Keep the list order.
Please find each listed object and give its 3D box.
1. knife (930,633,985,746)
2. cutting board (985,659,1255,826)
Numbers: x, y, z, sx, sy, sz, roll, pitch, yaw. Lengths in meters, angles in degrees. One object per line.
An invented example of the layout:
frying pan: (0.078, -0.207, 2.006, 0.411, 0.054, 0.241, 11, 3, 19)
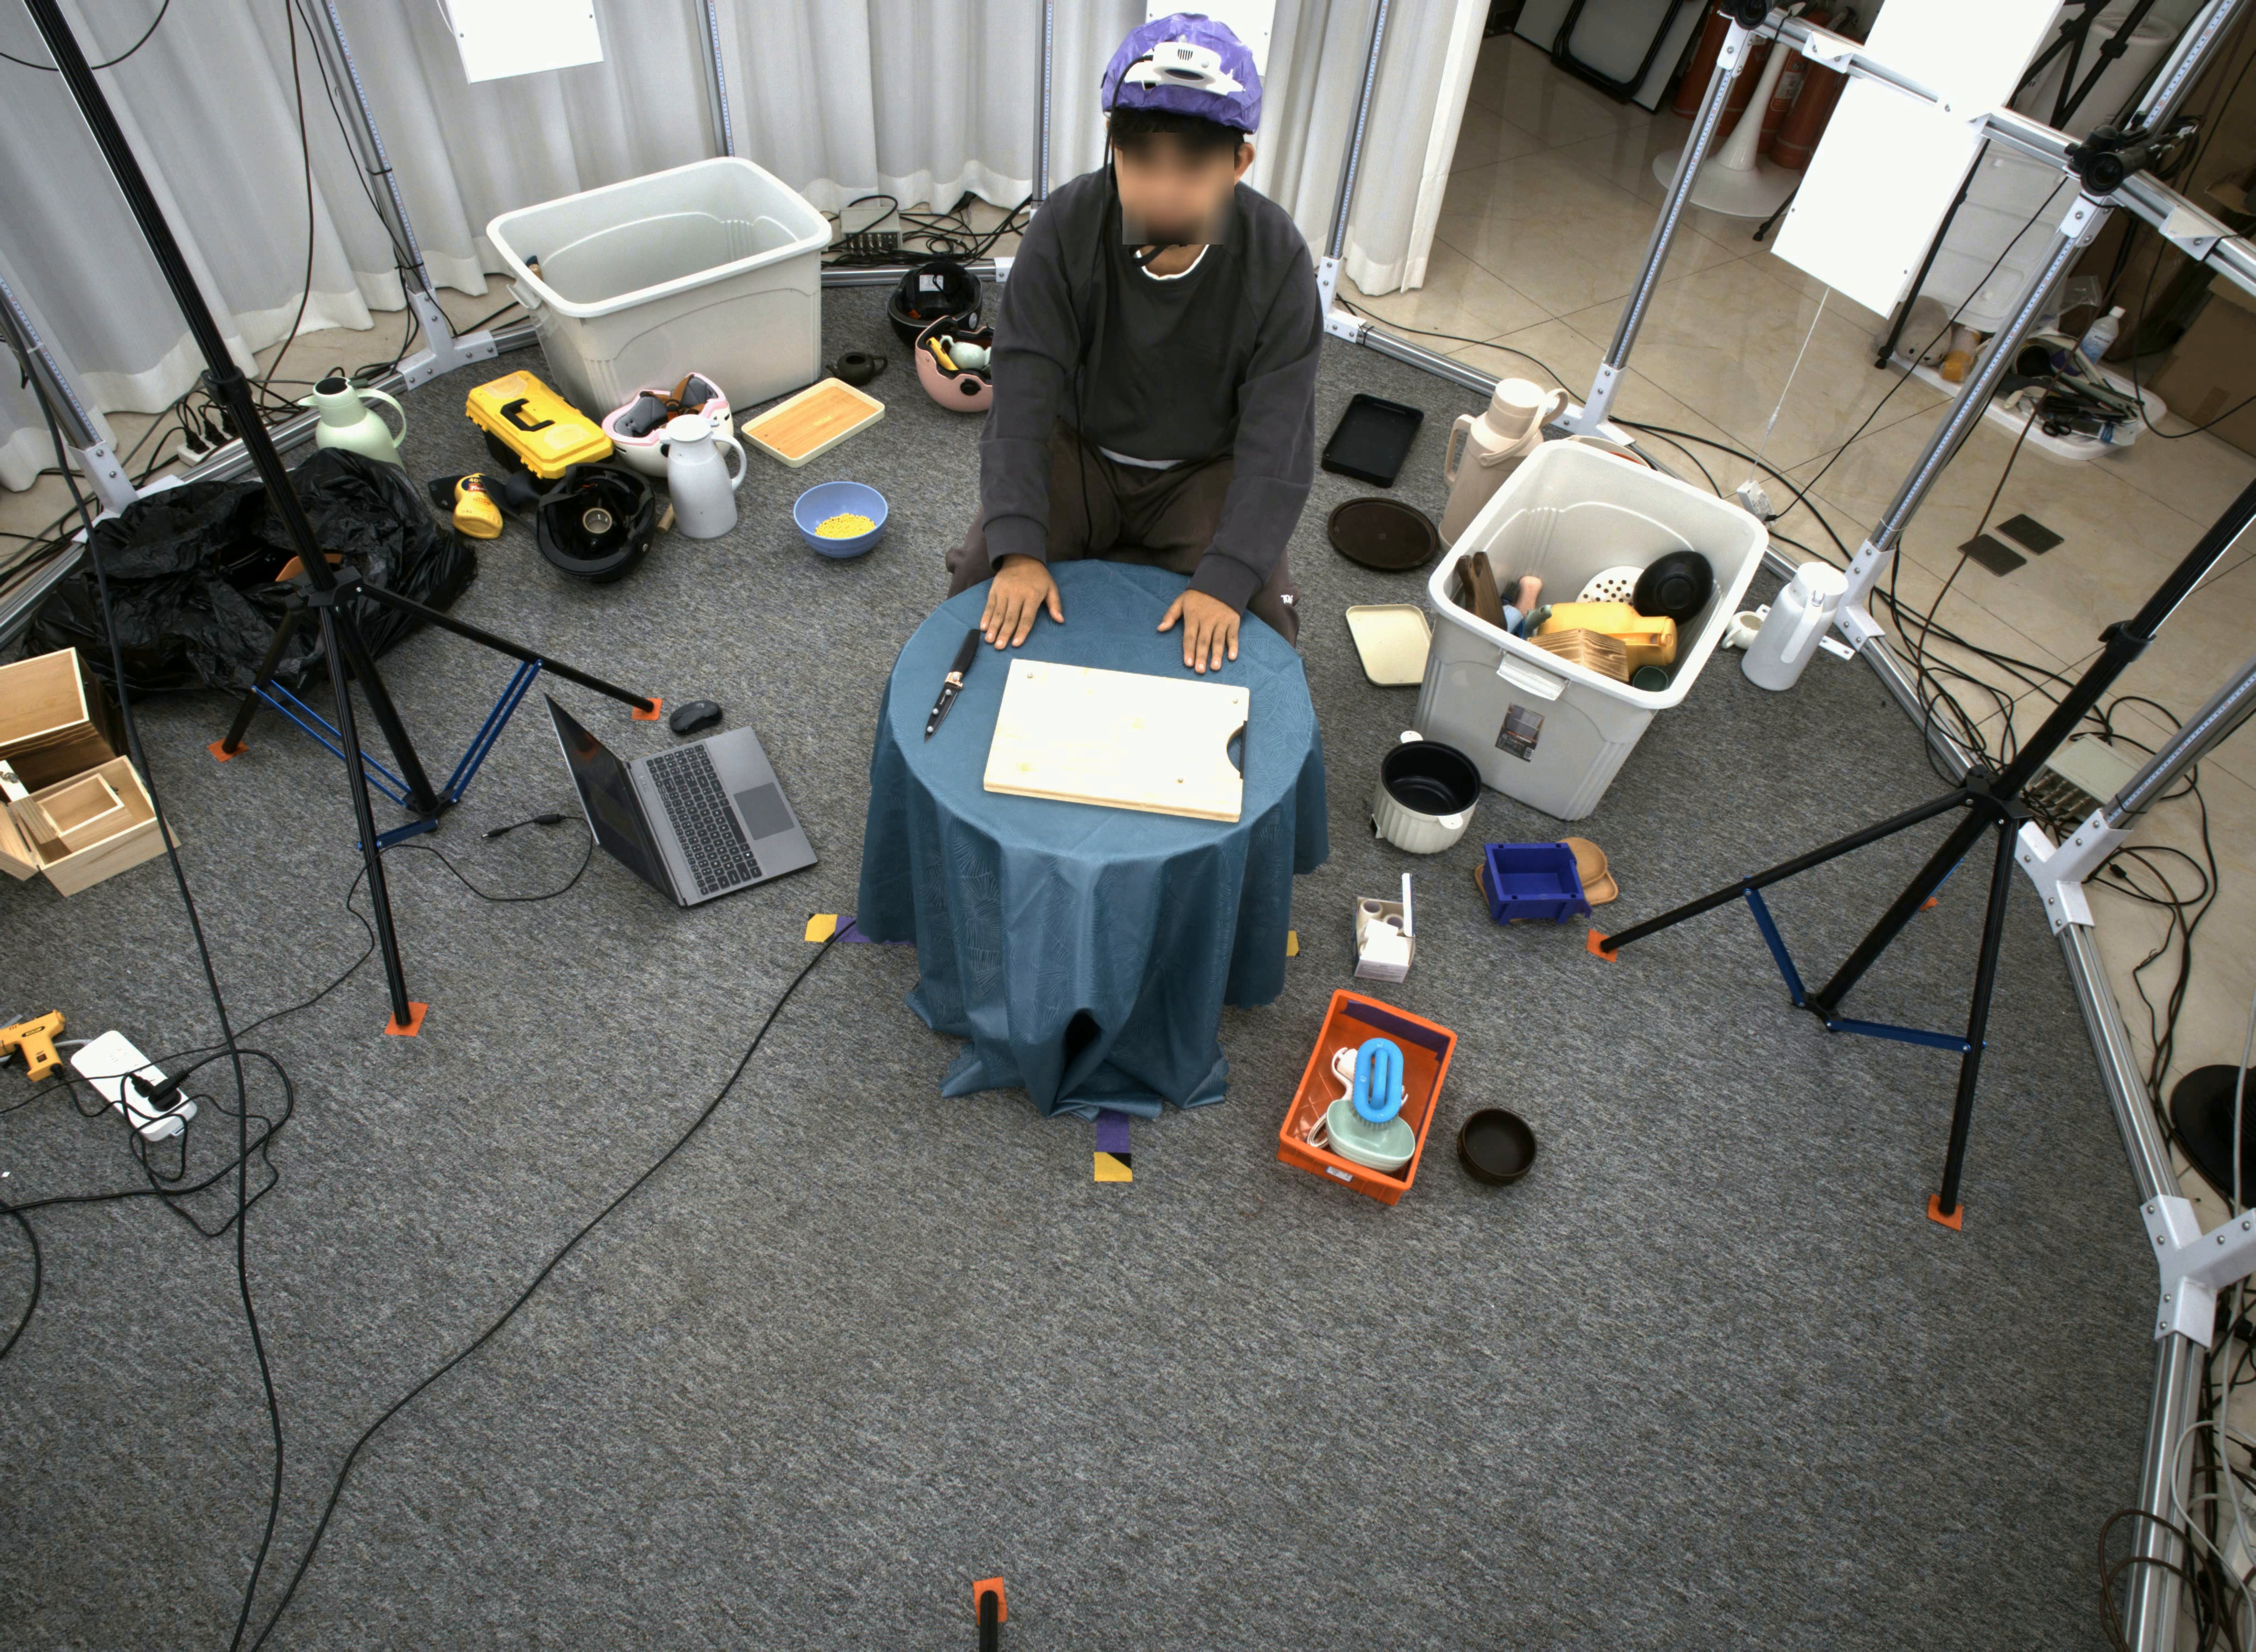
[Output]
knife: (-0.243, -0.195, 1.809, 0.026, 0.017, 0.230, 16, 50, 2)
cutting board: (-0.004, -0.120, 1.758, 0.348, 0.023, 0.257, 6, 49, 1)
